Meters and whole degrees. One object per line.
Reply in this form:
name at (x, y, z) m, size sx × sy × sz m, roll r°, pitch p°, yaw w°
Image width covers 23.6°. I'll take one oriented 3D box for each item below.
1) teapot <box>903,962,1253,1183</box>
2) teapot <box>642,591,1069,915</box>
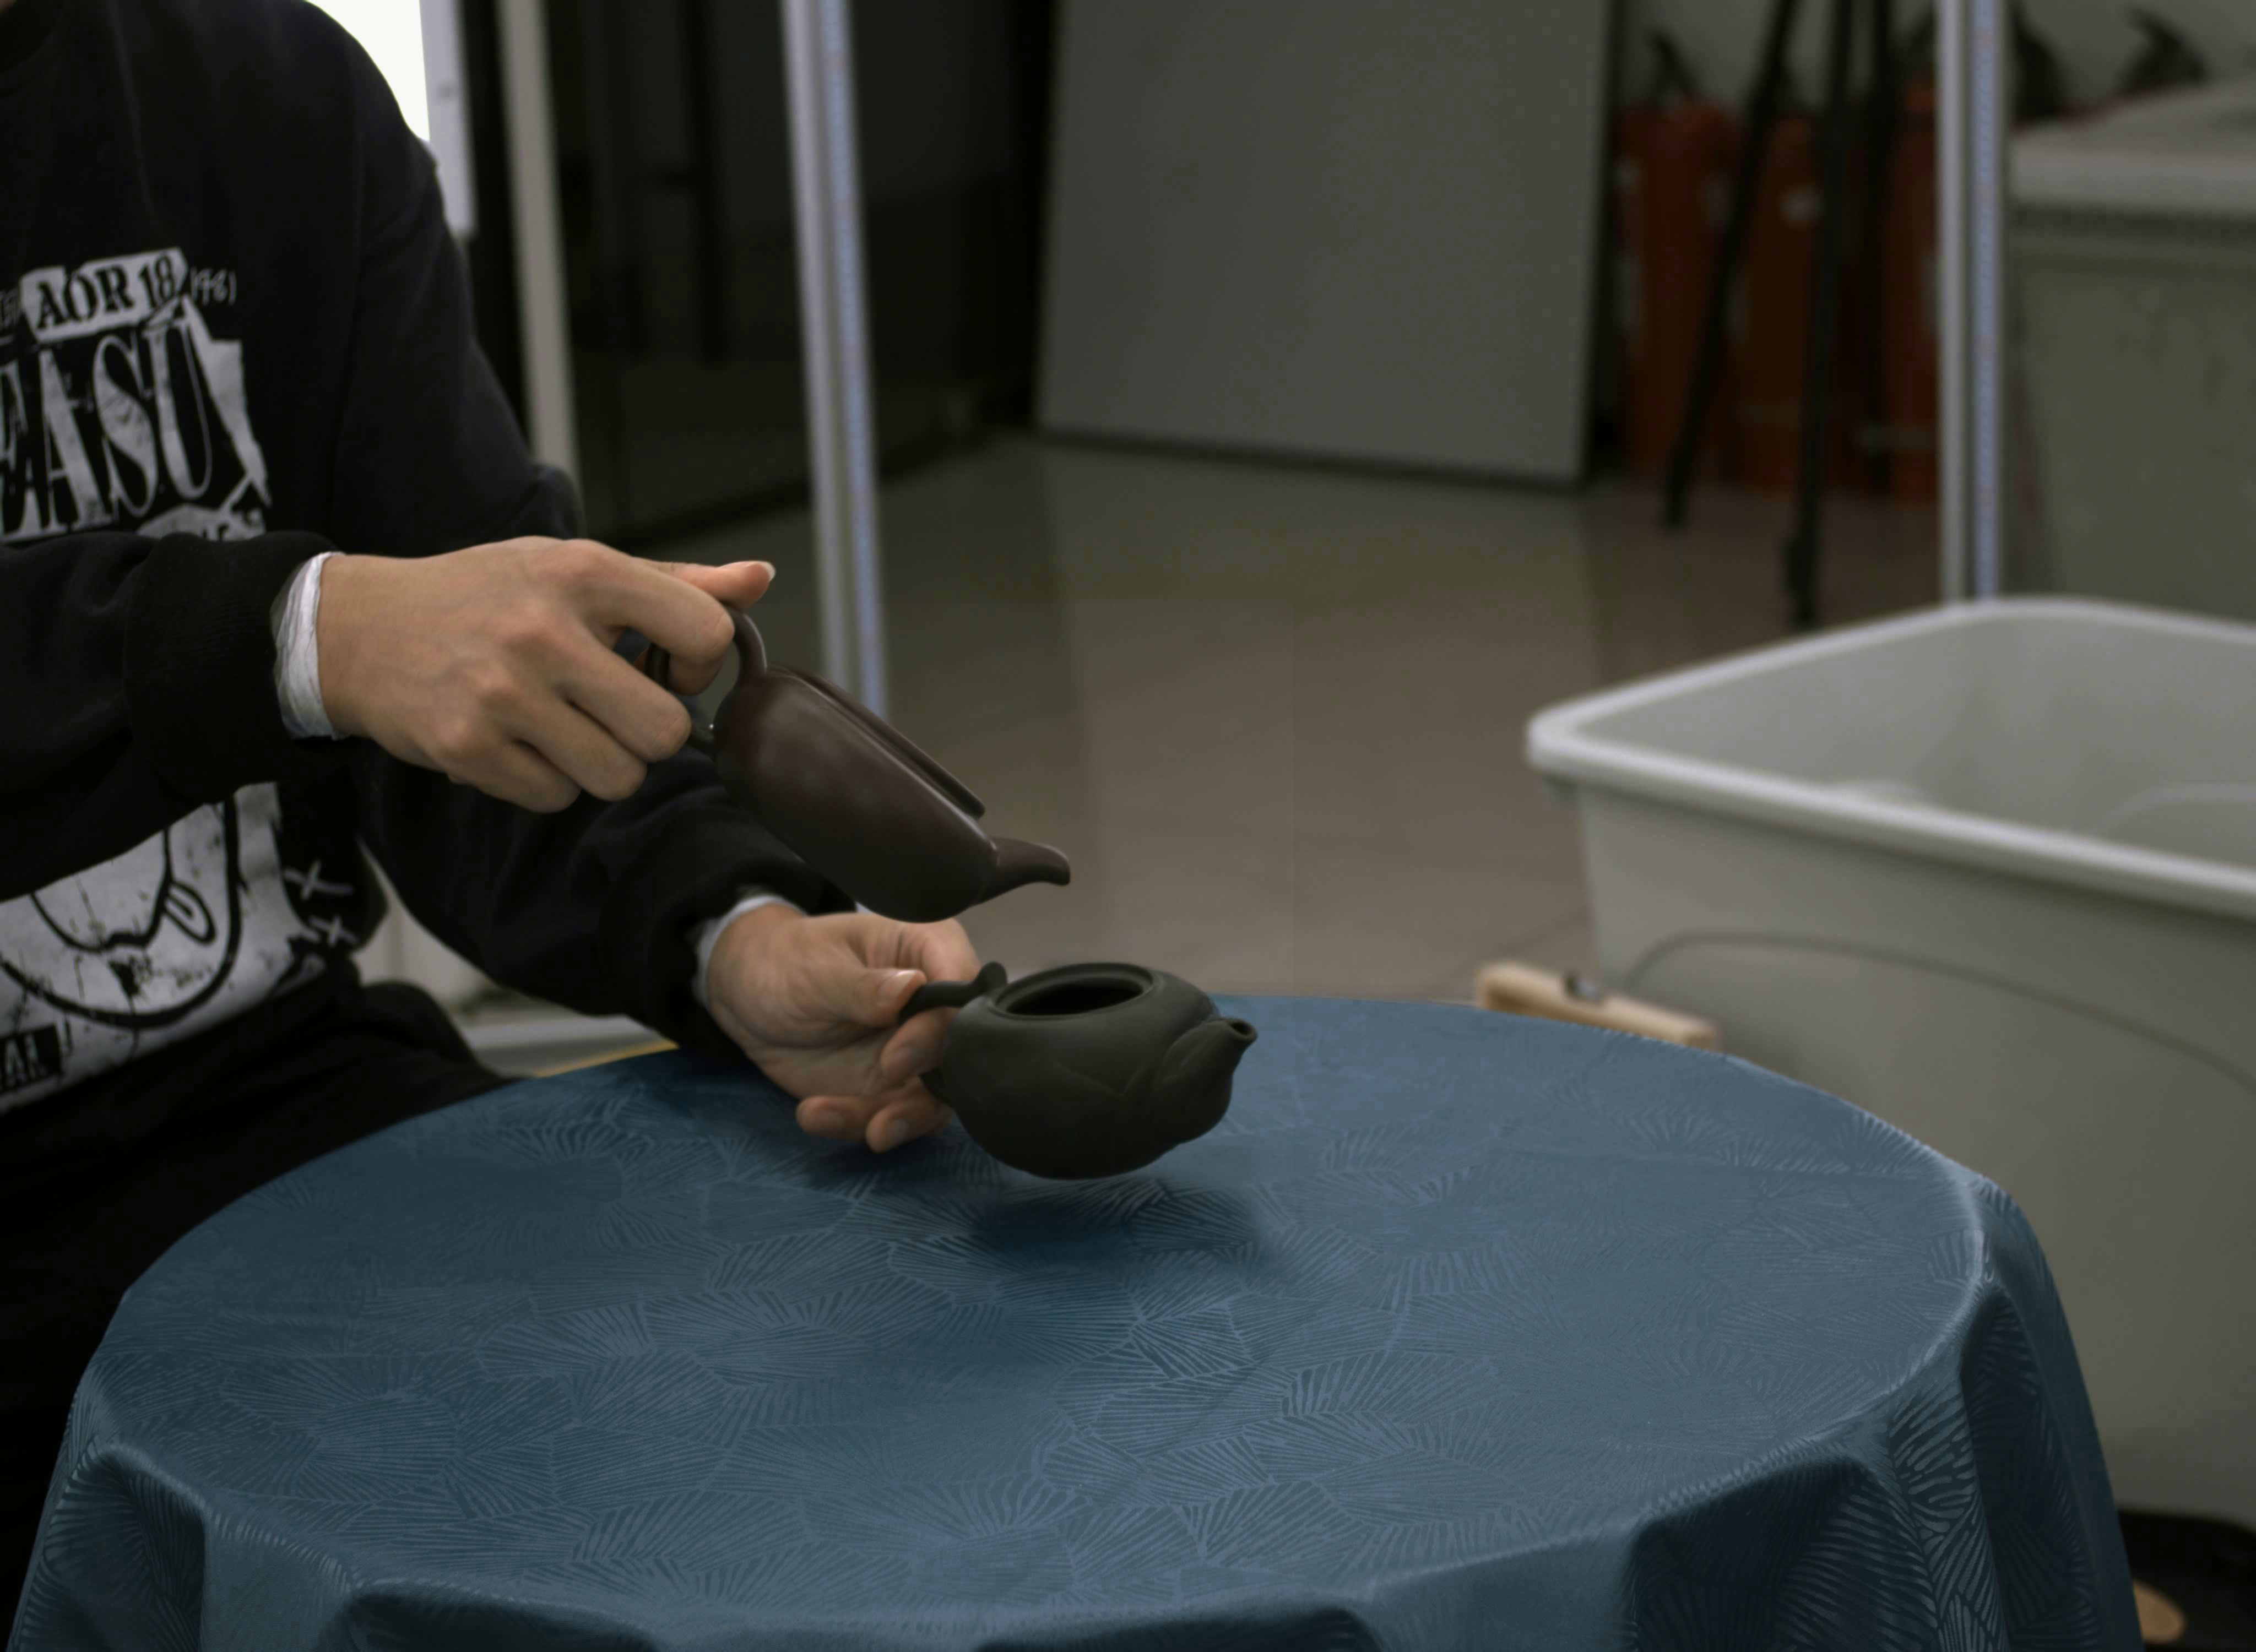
teapot at (-0.017, 0.079, 1.763) m, size 0.155 × 0.065 × 0.090 m, roll 6°, pitch 18°, yaw 42°
teapot at (-0.089, -0.016, 1.697) m, size 0.054 × 0.152 × 0.103 m, roll -52°, pitch 16°, yaw -6°
